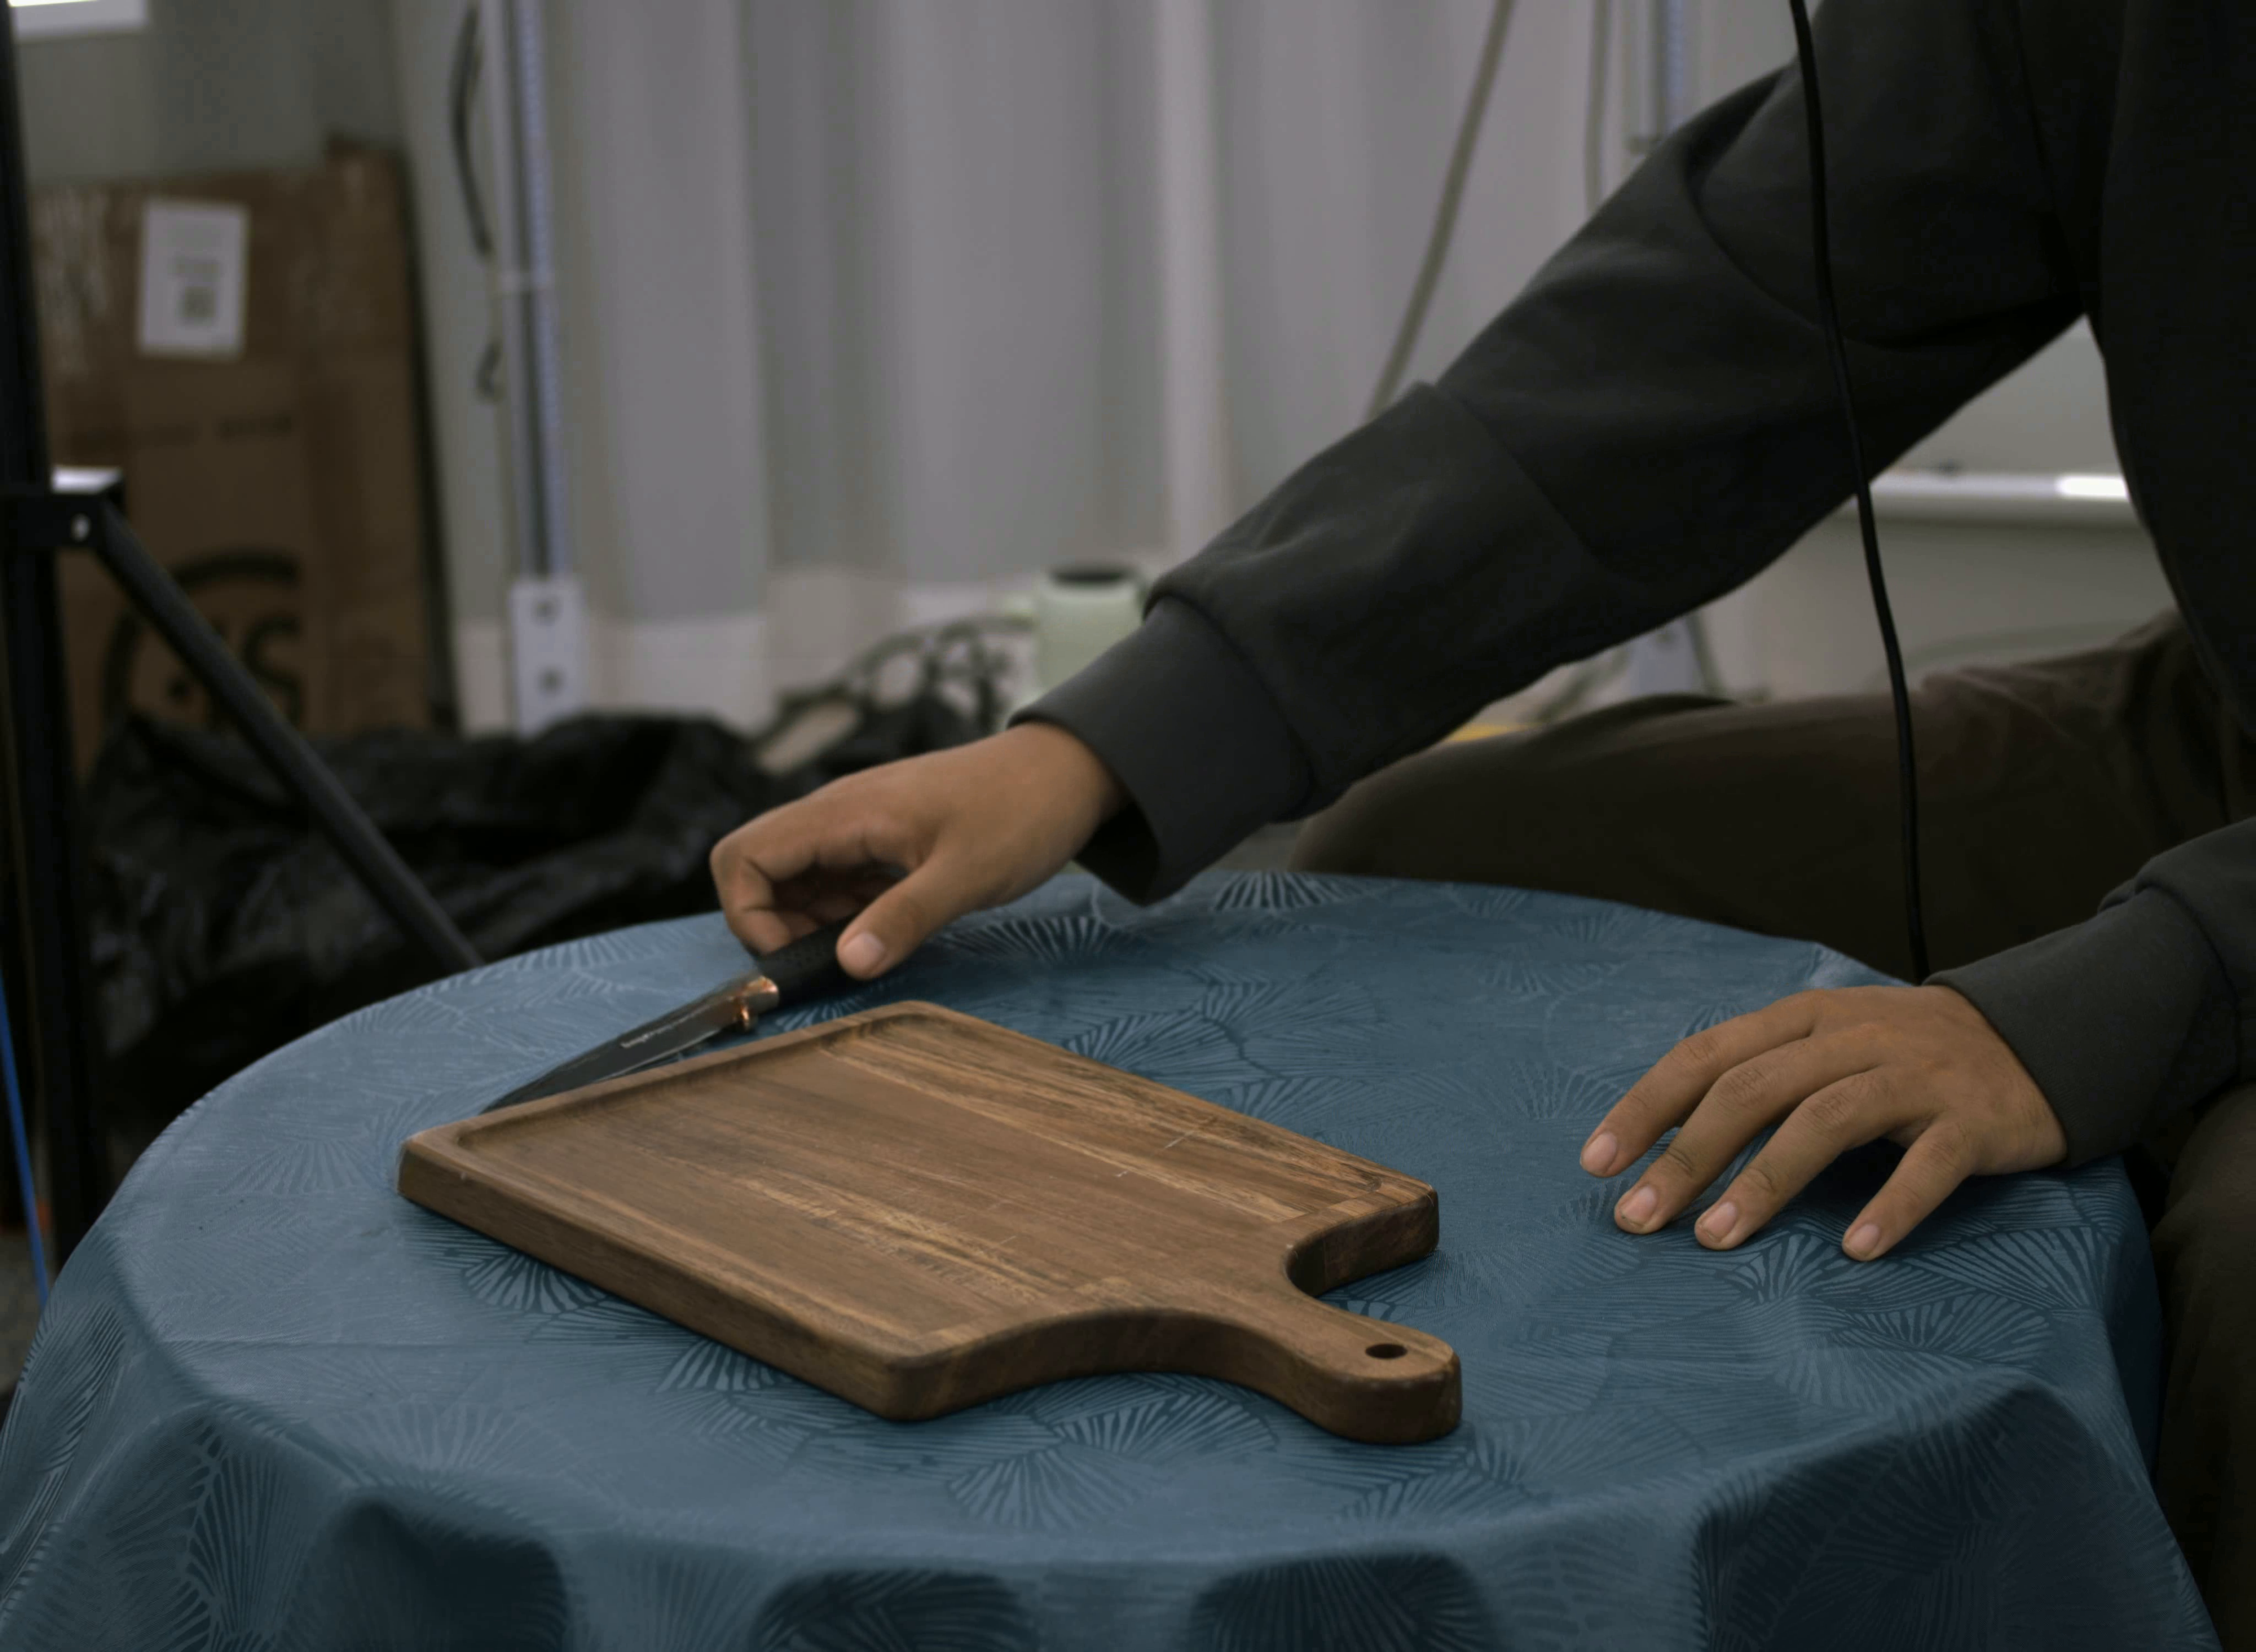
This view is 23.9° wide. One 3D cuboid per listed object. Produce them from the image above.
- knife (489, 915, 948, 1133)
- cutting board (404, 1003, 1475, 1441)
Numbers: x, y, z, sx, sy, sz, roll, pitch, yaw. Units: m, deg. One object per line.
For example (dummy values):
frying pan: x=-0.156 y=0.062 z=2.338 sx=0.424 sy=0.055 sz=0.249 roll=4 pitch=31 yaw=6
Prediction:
knife: x=-0.131 y=0.063 z=1.716 sx=0.027 sy=0.017 sz=0.221 roll=17 pitch=25 yaw=34
cutting board: x=-0.030 y=0.116 z=1.496 sx=0.196 sy=0.023 sz=0.360 roll=-15 pitch=20 yaw=-36
